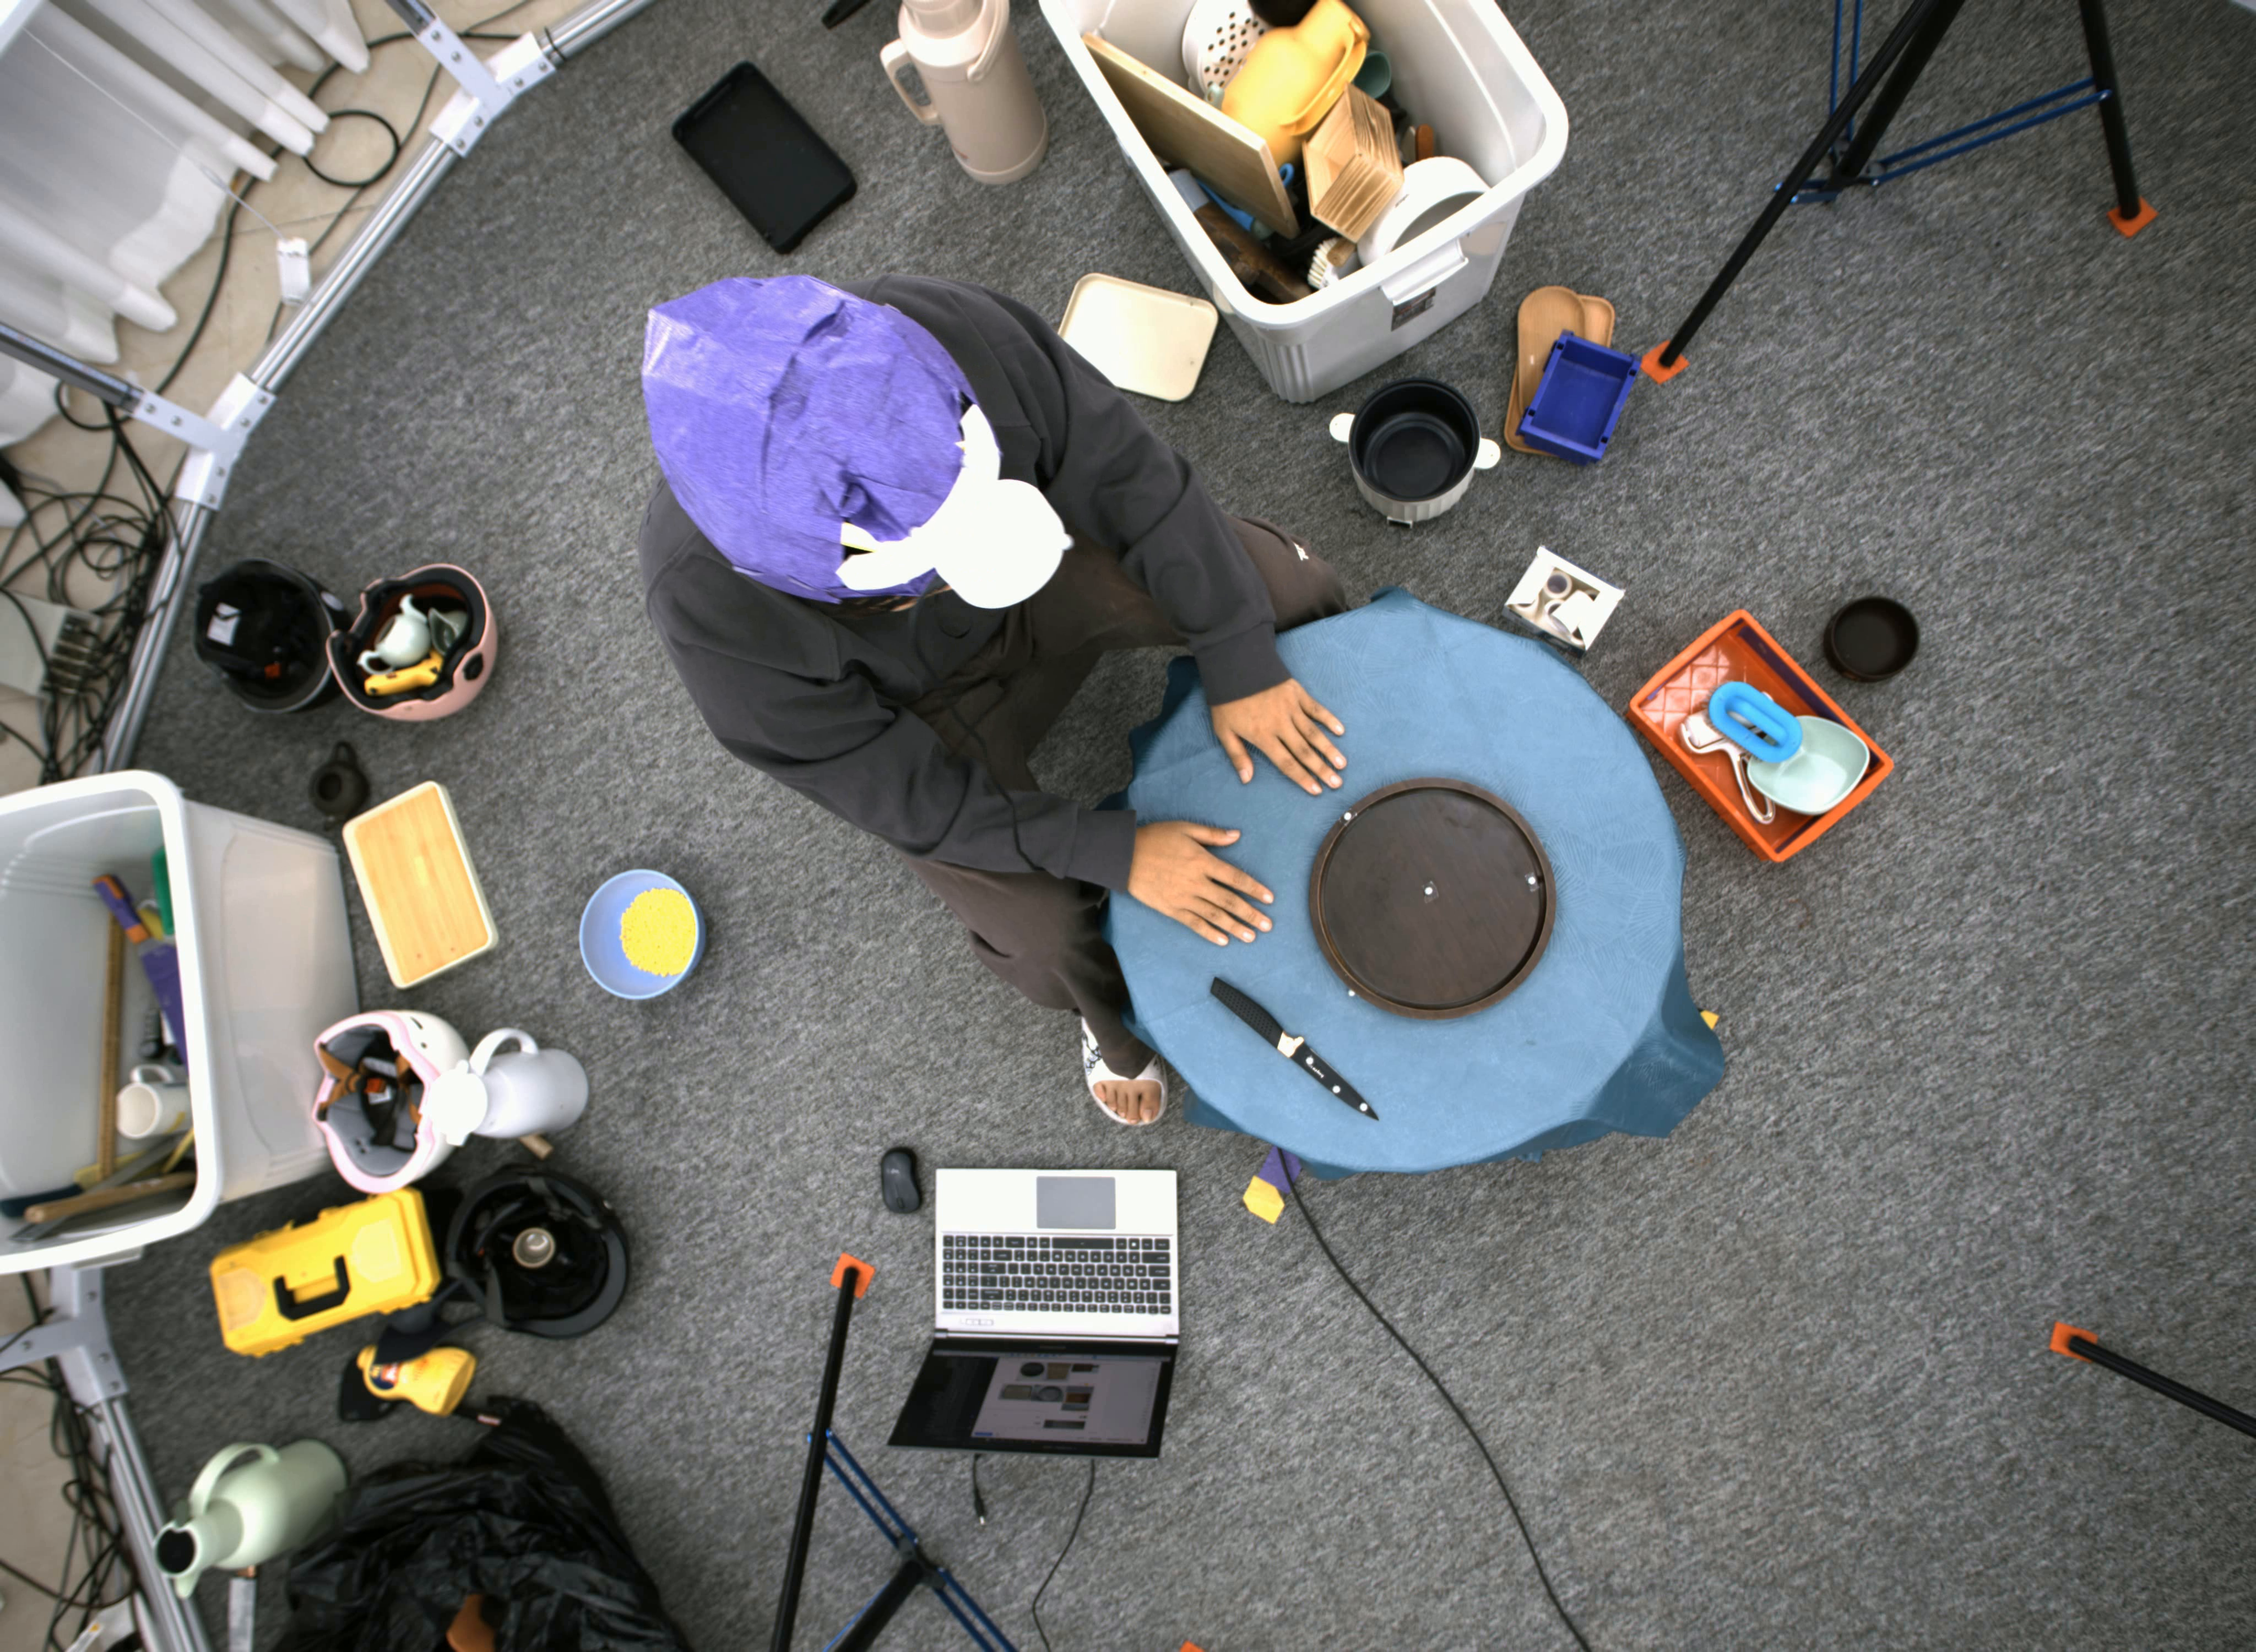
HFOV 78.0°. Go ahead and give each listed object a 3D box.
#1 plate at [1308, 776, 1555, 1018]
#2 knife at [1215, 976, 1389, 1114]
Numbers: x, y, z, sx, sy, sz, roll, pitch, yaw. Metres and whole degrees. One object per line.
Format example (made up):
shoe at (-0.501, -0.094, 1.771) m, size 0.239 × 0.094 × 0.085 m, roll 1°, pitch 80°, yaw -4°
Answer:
plate at (0.315, 0.072, 1.440) m, size 0.256 × 0.029 × 0.253 m, roll -1°, pitch 86°, yaw 12°
knife at (0.183, 0.232, 1.463) m, size 0.225 × 0.017 × 0.026 m, roll 39°, pitch 87°, yaw 10°
